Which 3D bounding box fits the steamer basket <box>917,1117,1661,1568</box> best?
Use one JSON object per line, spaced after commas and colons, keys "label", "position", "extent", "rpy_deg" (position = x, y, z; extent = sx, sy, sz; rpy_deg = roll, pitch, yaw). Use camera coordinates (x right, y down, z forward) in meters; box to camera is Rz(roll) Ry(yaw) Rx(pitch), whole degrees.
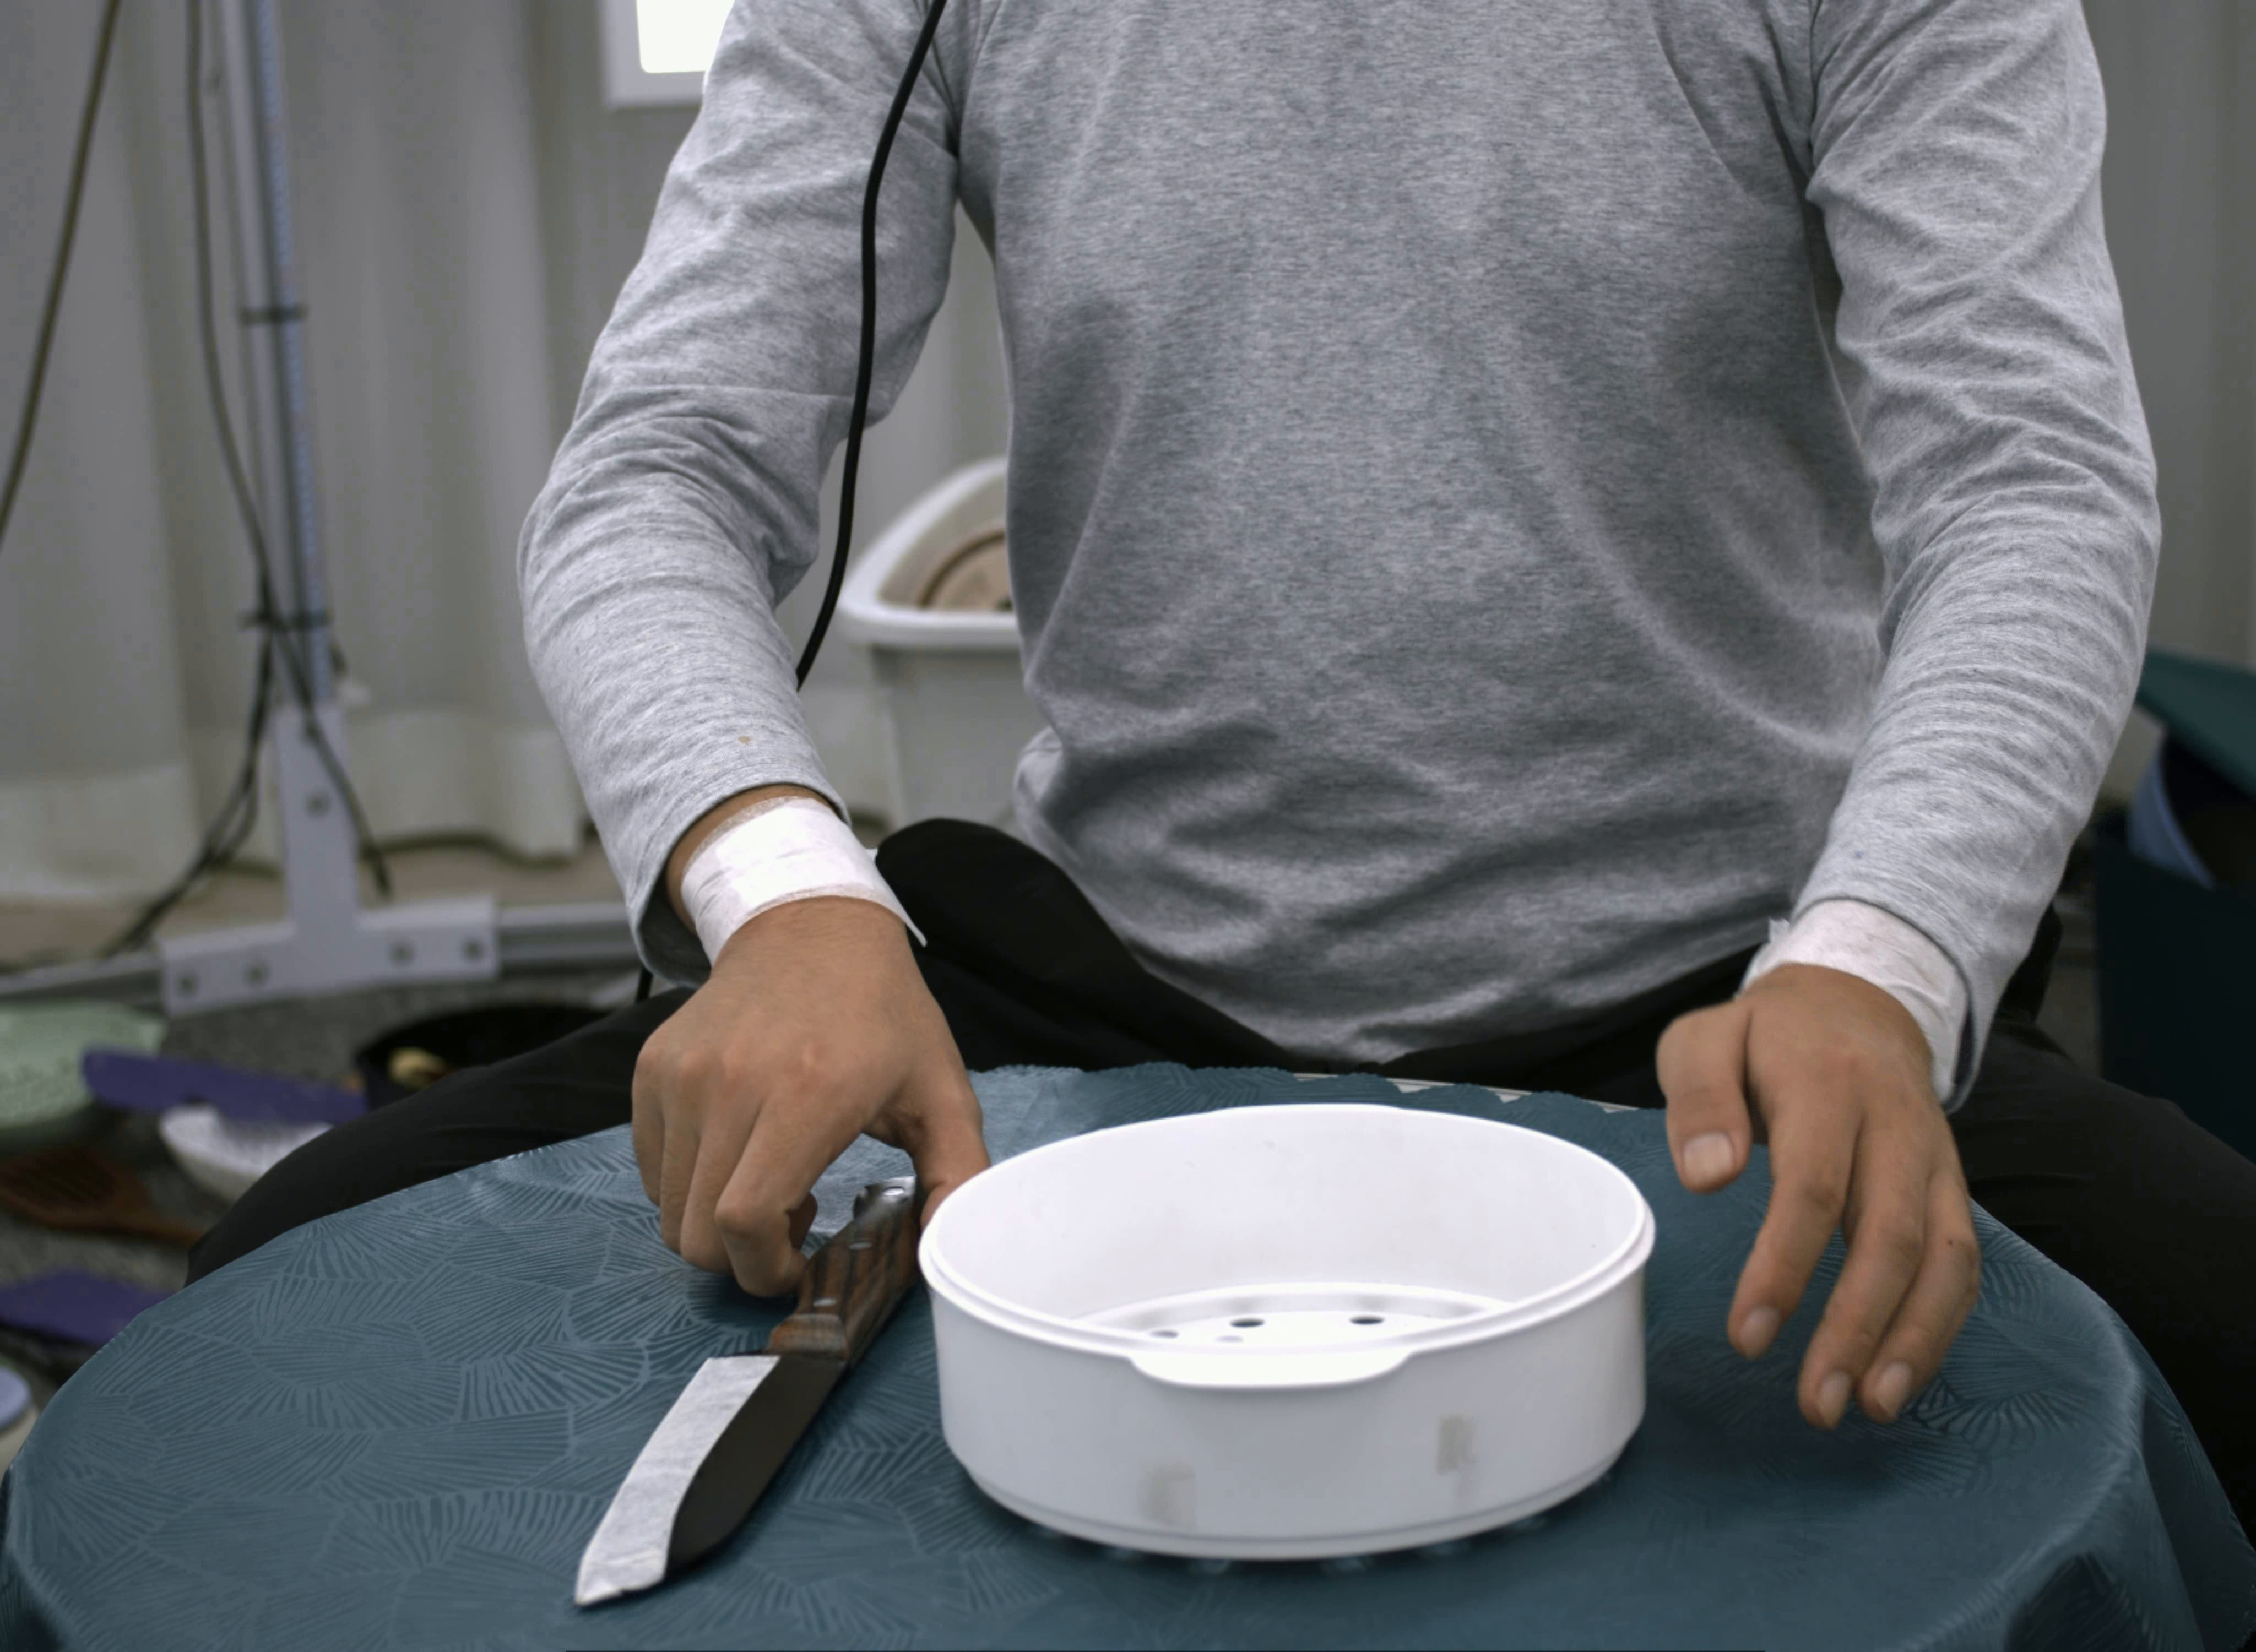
{"label": "steamer basket", "position": [0.044, 0.139, 1.485], "extent": [0.201, 0.069, 0.232], "rpy_deg": [-1, 14, 5]}

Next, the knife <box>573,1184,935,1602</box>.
{"label": "knife", "position": [-0.102, 0.159, 1.541], "extent": [0.050, 0.020, 0.290], "rpy_deg": [-5, 15, 16]}
